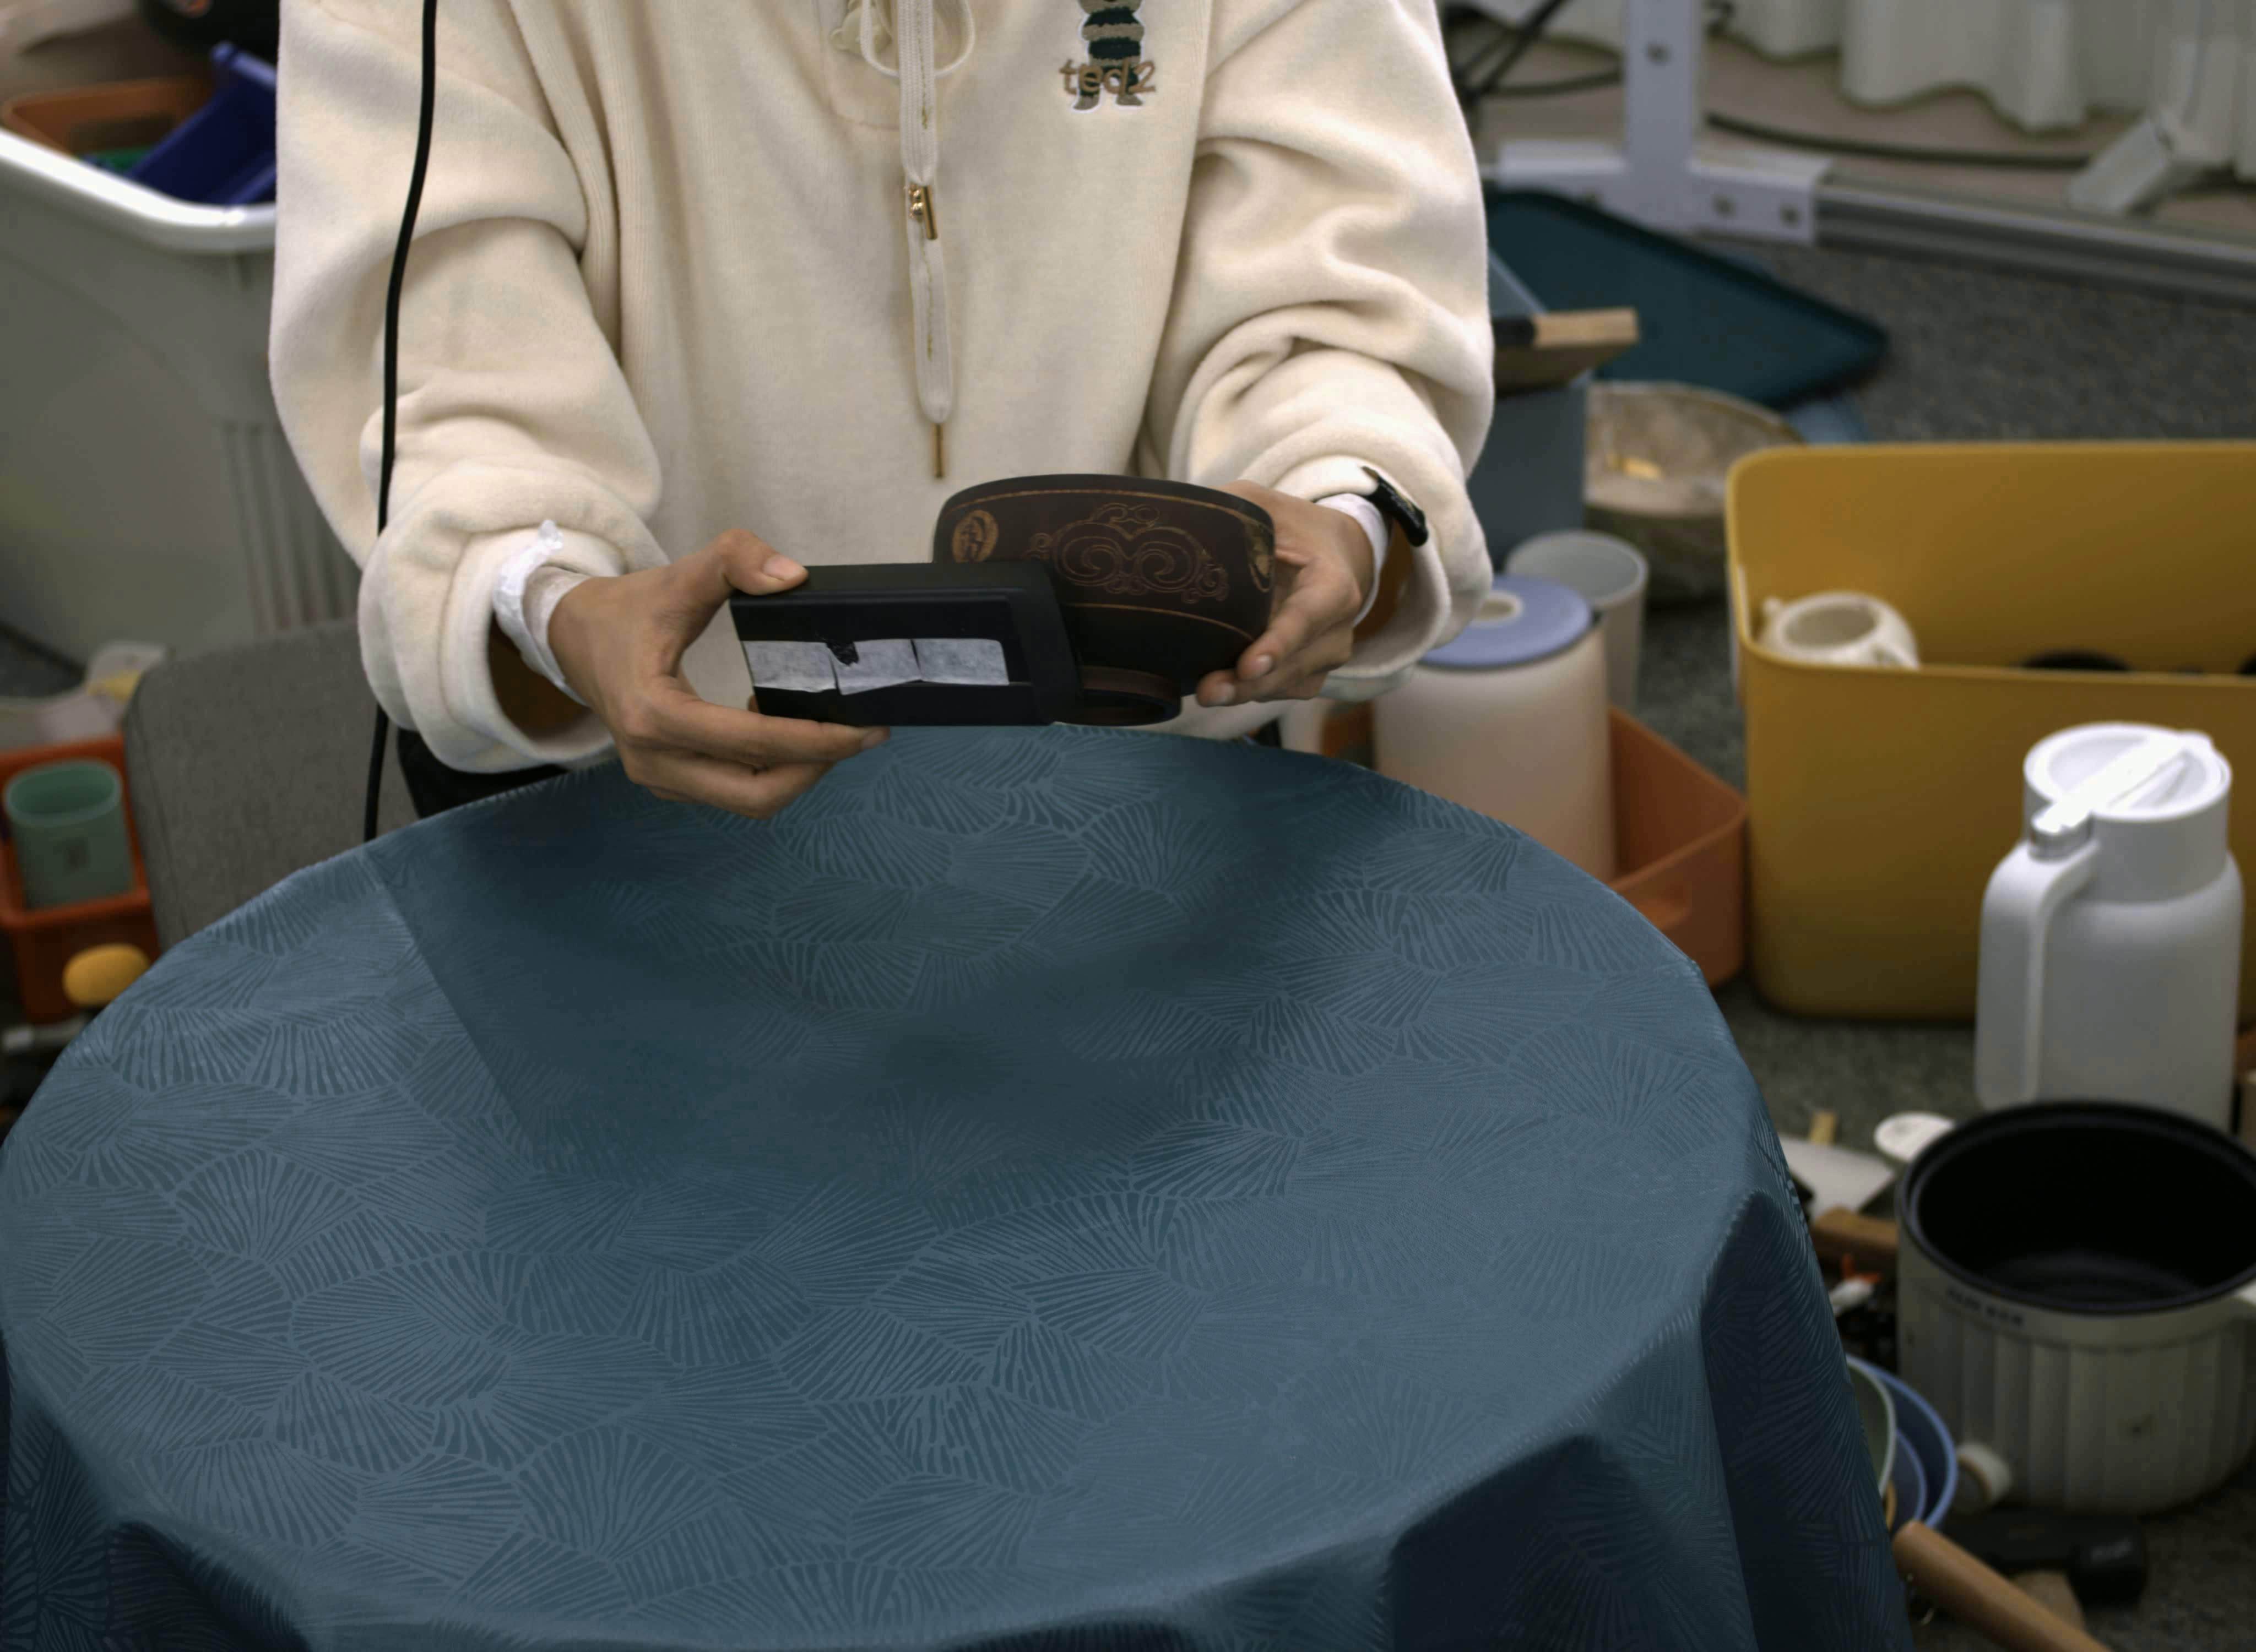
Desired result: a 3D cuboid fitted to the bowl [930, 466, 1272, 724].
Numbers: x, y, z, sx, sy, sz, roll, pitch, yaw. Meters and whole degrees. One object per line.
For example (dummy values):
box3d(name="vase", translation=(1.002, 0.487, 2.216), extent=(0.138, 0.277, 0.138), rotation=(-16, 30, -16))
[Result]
box3d(name="bowl", translation=(-0.010, -0.075, 1.927), extent=(0.117, 0.071, 0.117), rotation=(3, -13, 1))

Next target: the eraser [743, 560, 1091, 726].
box3d(name="eraser", translation=(-0.071, -0.062, 1.892), extent=(0.124, 0.053, 0.031), rotation=(1, 23, 37))
